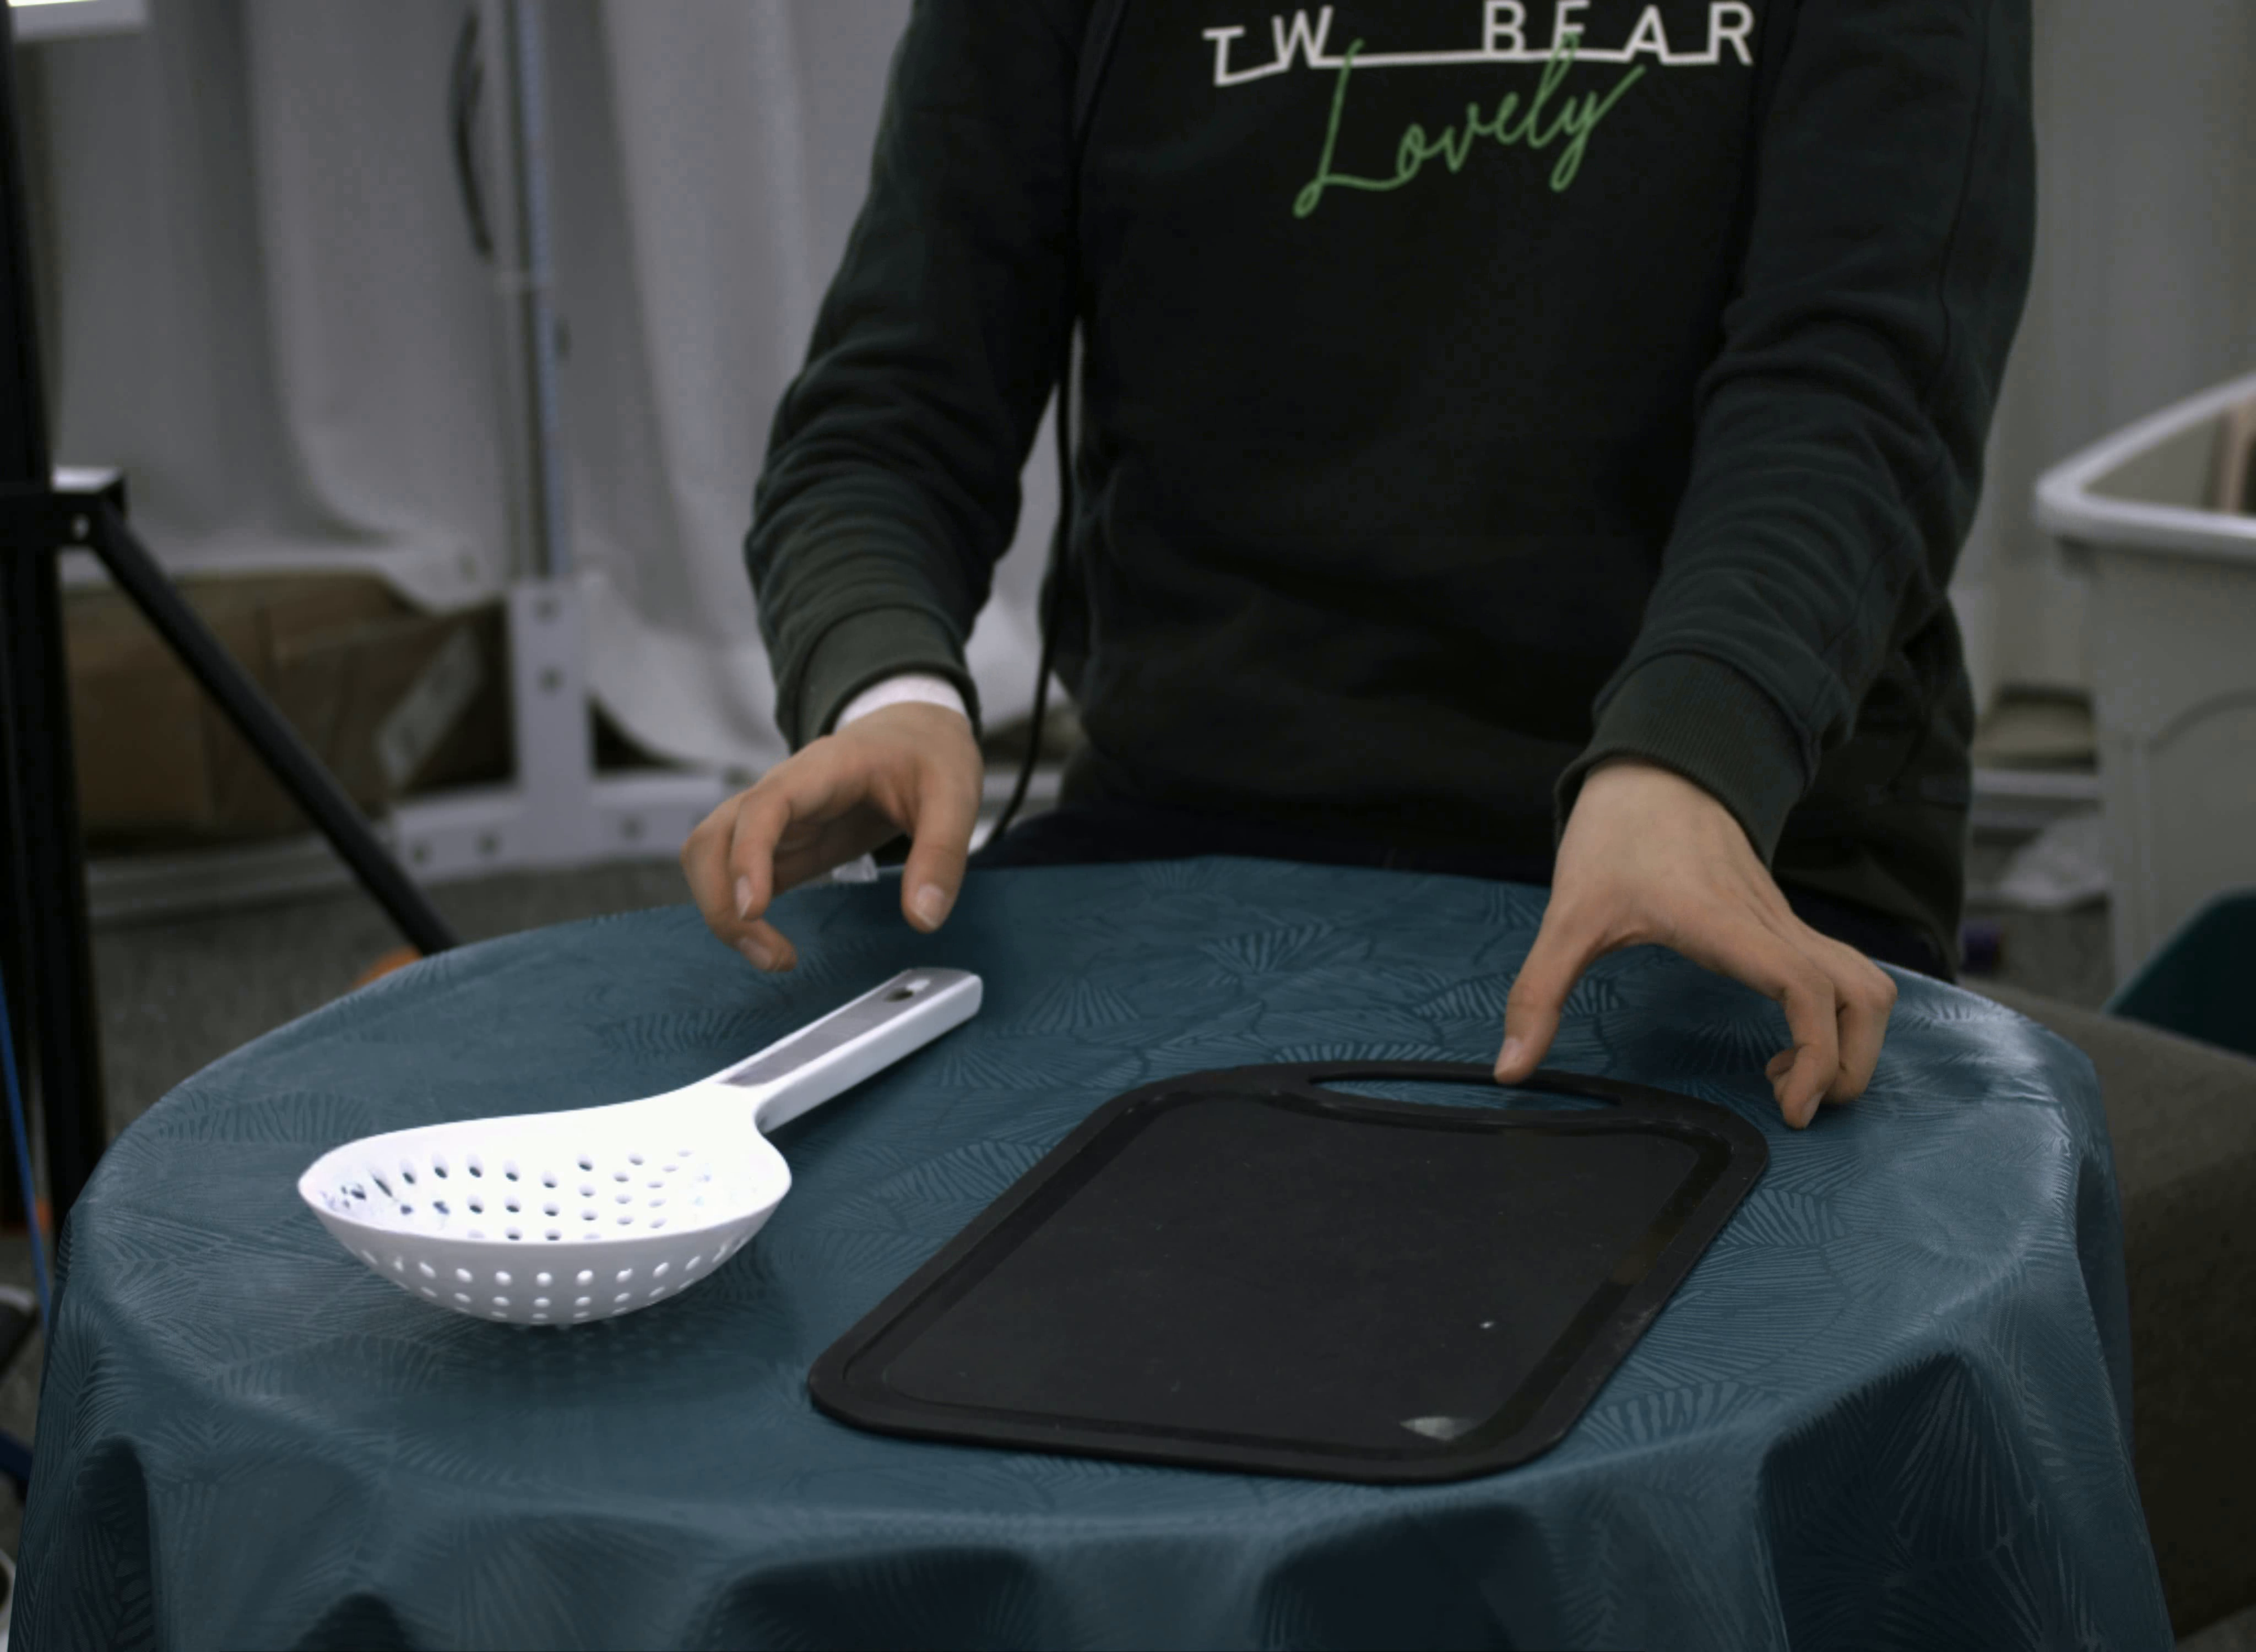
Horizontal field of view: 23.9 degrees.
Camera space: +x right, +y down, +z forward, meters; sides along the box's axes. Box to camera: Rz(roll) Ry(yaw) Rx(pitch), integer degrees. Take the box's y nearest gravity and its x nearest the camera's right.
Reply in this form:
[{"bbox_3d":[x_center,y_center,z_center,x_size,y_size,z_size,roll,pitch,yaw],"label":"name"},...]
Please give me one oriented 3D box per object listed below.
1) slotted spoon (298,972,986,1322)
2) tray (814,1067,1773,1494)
[{"bbox_3d":[-0.122,0.085,1.576,0.138,0.046,0.345,6,17,21],"label":"slotted spoon"},{"bbox_3d":[0.056,0.119,1.499,0.214,0.010,0.321,4,17,21],"label":"tray"}]
